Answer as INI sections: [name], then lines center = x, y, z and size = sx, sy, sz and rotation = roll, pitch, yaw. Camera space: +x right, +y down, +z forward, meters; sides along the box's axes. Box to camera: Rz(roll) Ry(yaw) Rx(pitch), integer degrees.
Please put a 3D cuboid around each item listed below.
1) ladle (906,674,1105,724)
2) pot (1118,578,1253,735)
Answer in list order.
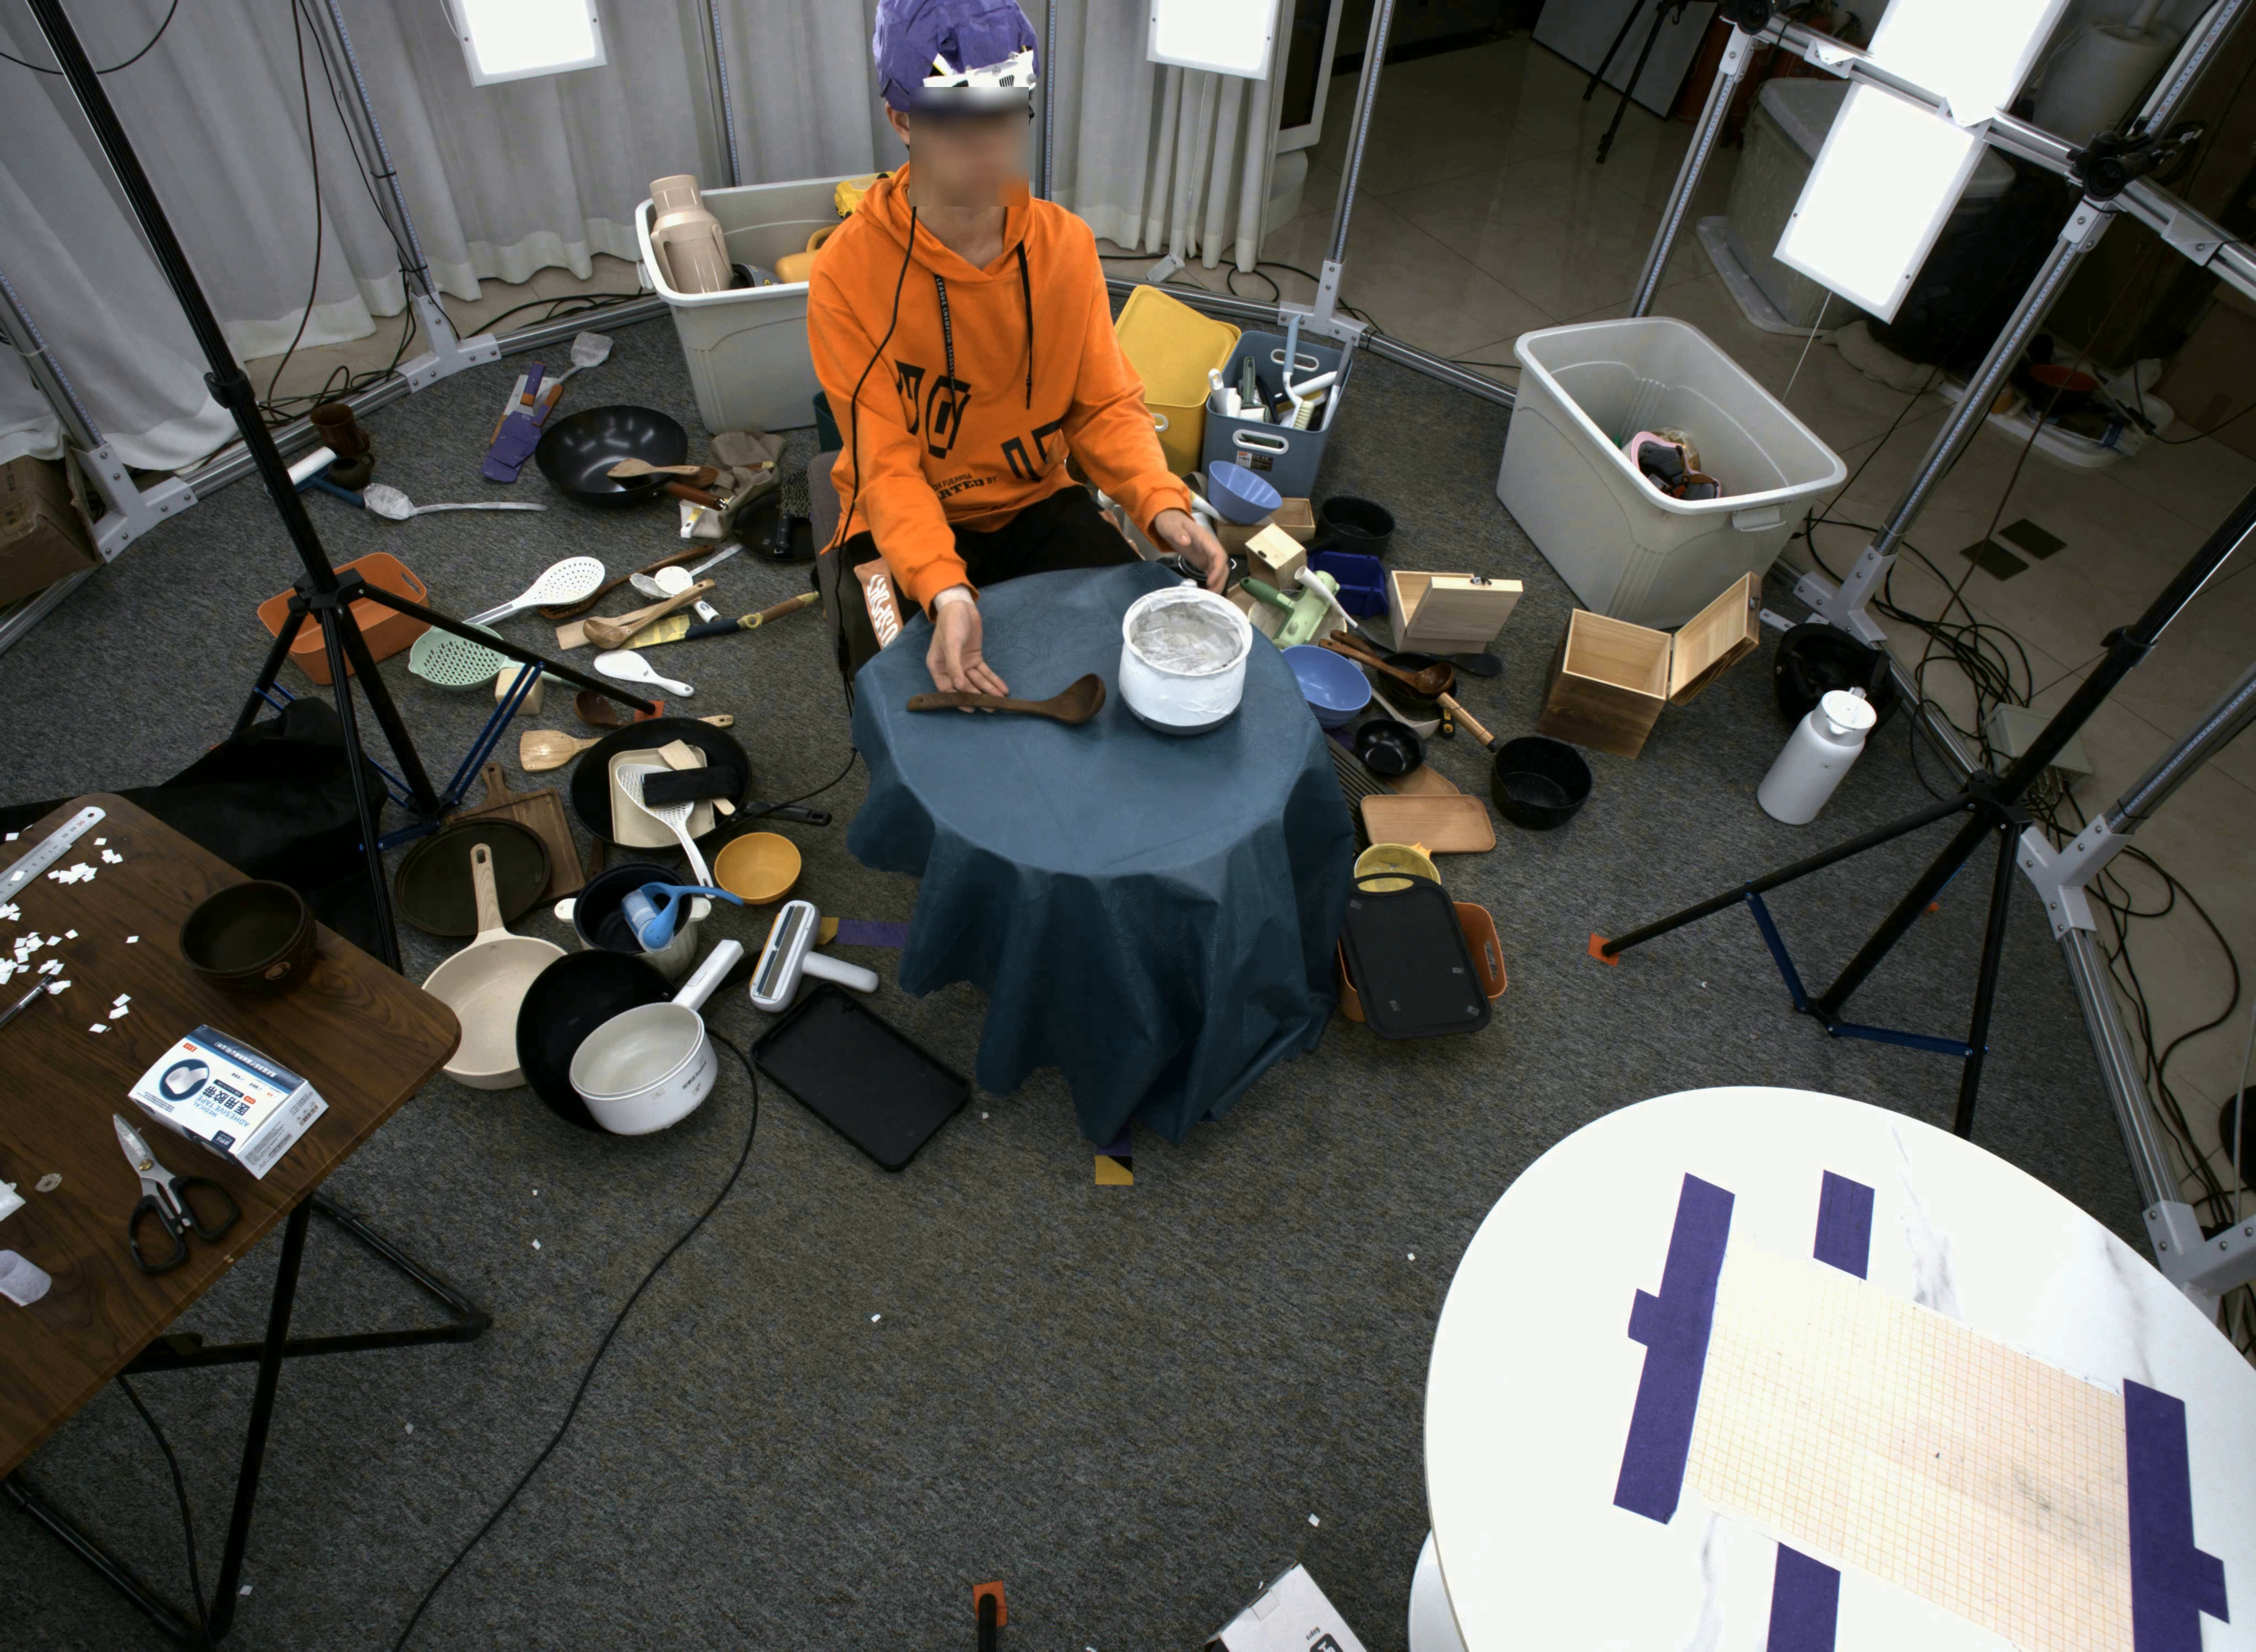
[ladle]
center = -0.169, -0.182, 1.770
size = 0.274, 0.069, 0.078
rotation = 4, 48, -2
[pot]
center = 0.077, -0.247, 1.799
size = 0.178, 0.133, 0.239
rotation = 4, 50, -2
